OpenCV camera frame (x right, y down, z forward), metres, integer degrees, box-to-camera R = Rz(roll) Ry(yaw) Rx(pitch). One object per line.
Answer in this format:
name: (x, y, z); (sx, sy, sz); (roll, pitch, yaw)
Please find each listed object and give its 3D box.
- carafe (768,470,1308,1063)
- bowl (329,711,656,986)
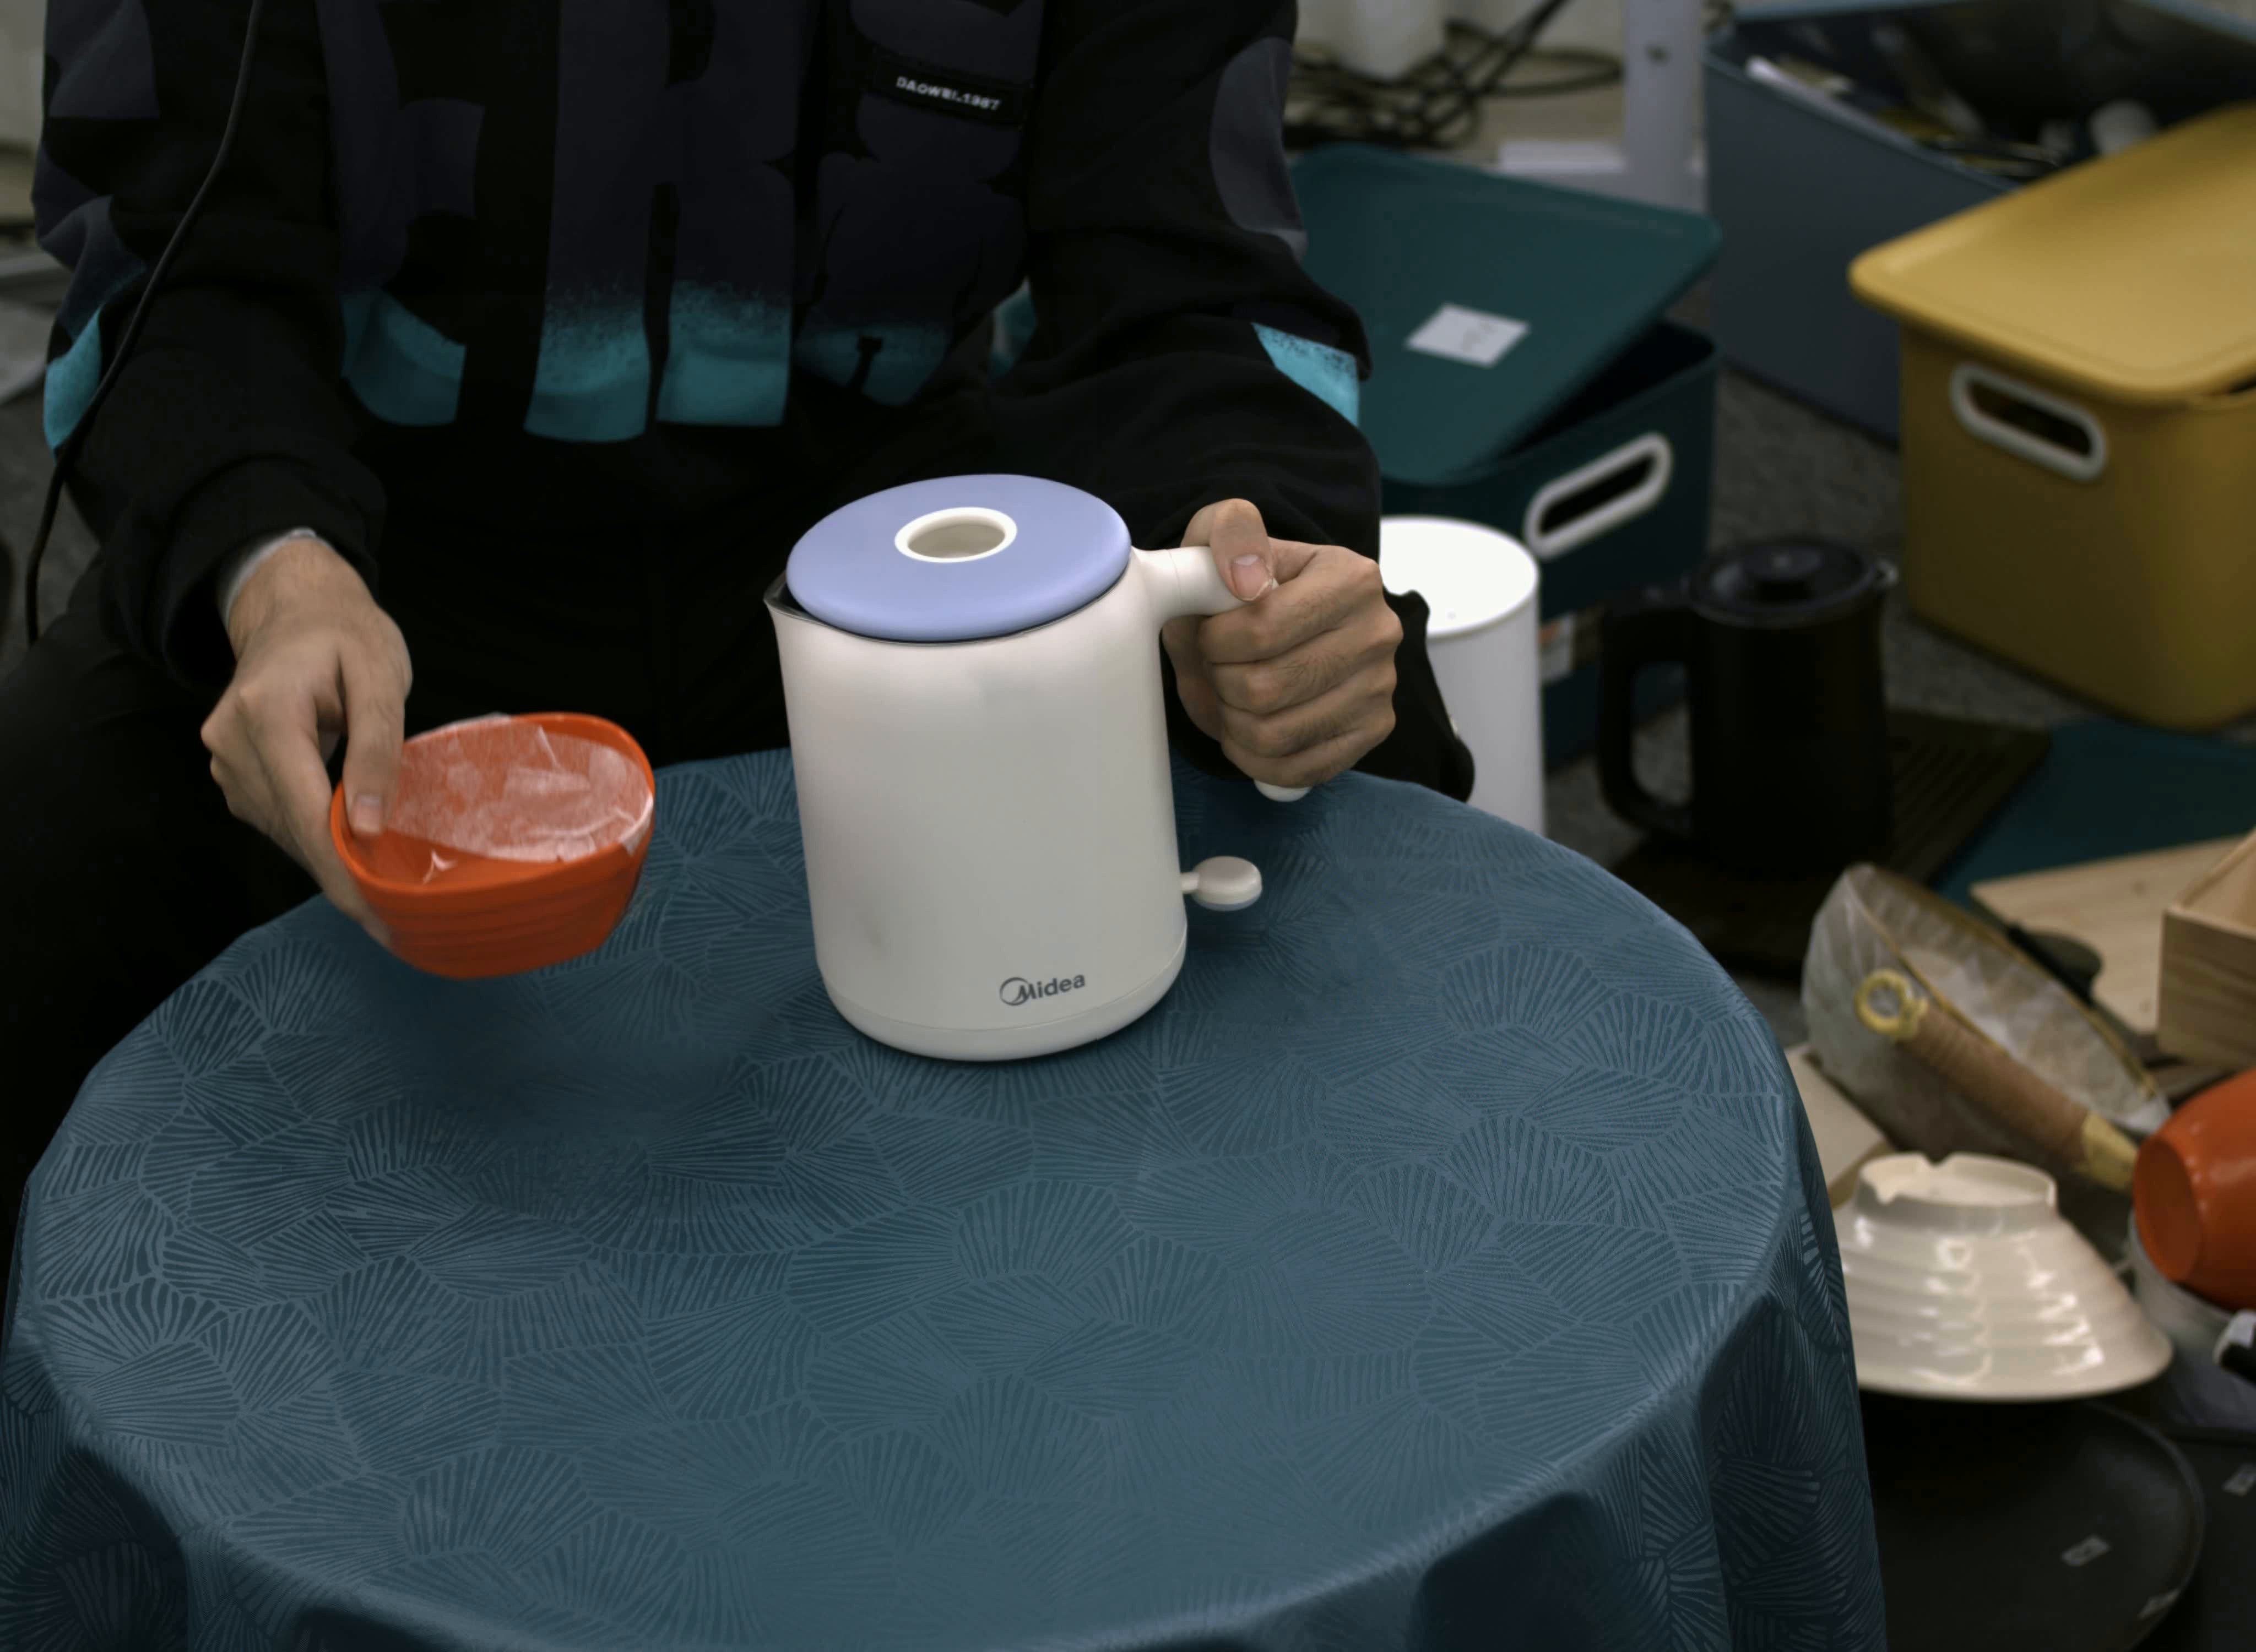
carafe: (-0.028, -0.025, 1.959); (0.191, 0.180, 0.133); (-10, 29, -15)
bowl: (-0.211, 0.013, 1.903); (0.118, 0.051, 0.121); (-5, 32, 4)
